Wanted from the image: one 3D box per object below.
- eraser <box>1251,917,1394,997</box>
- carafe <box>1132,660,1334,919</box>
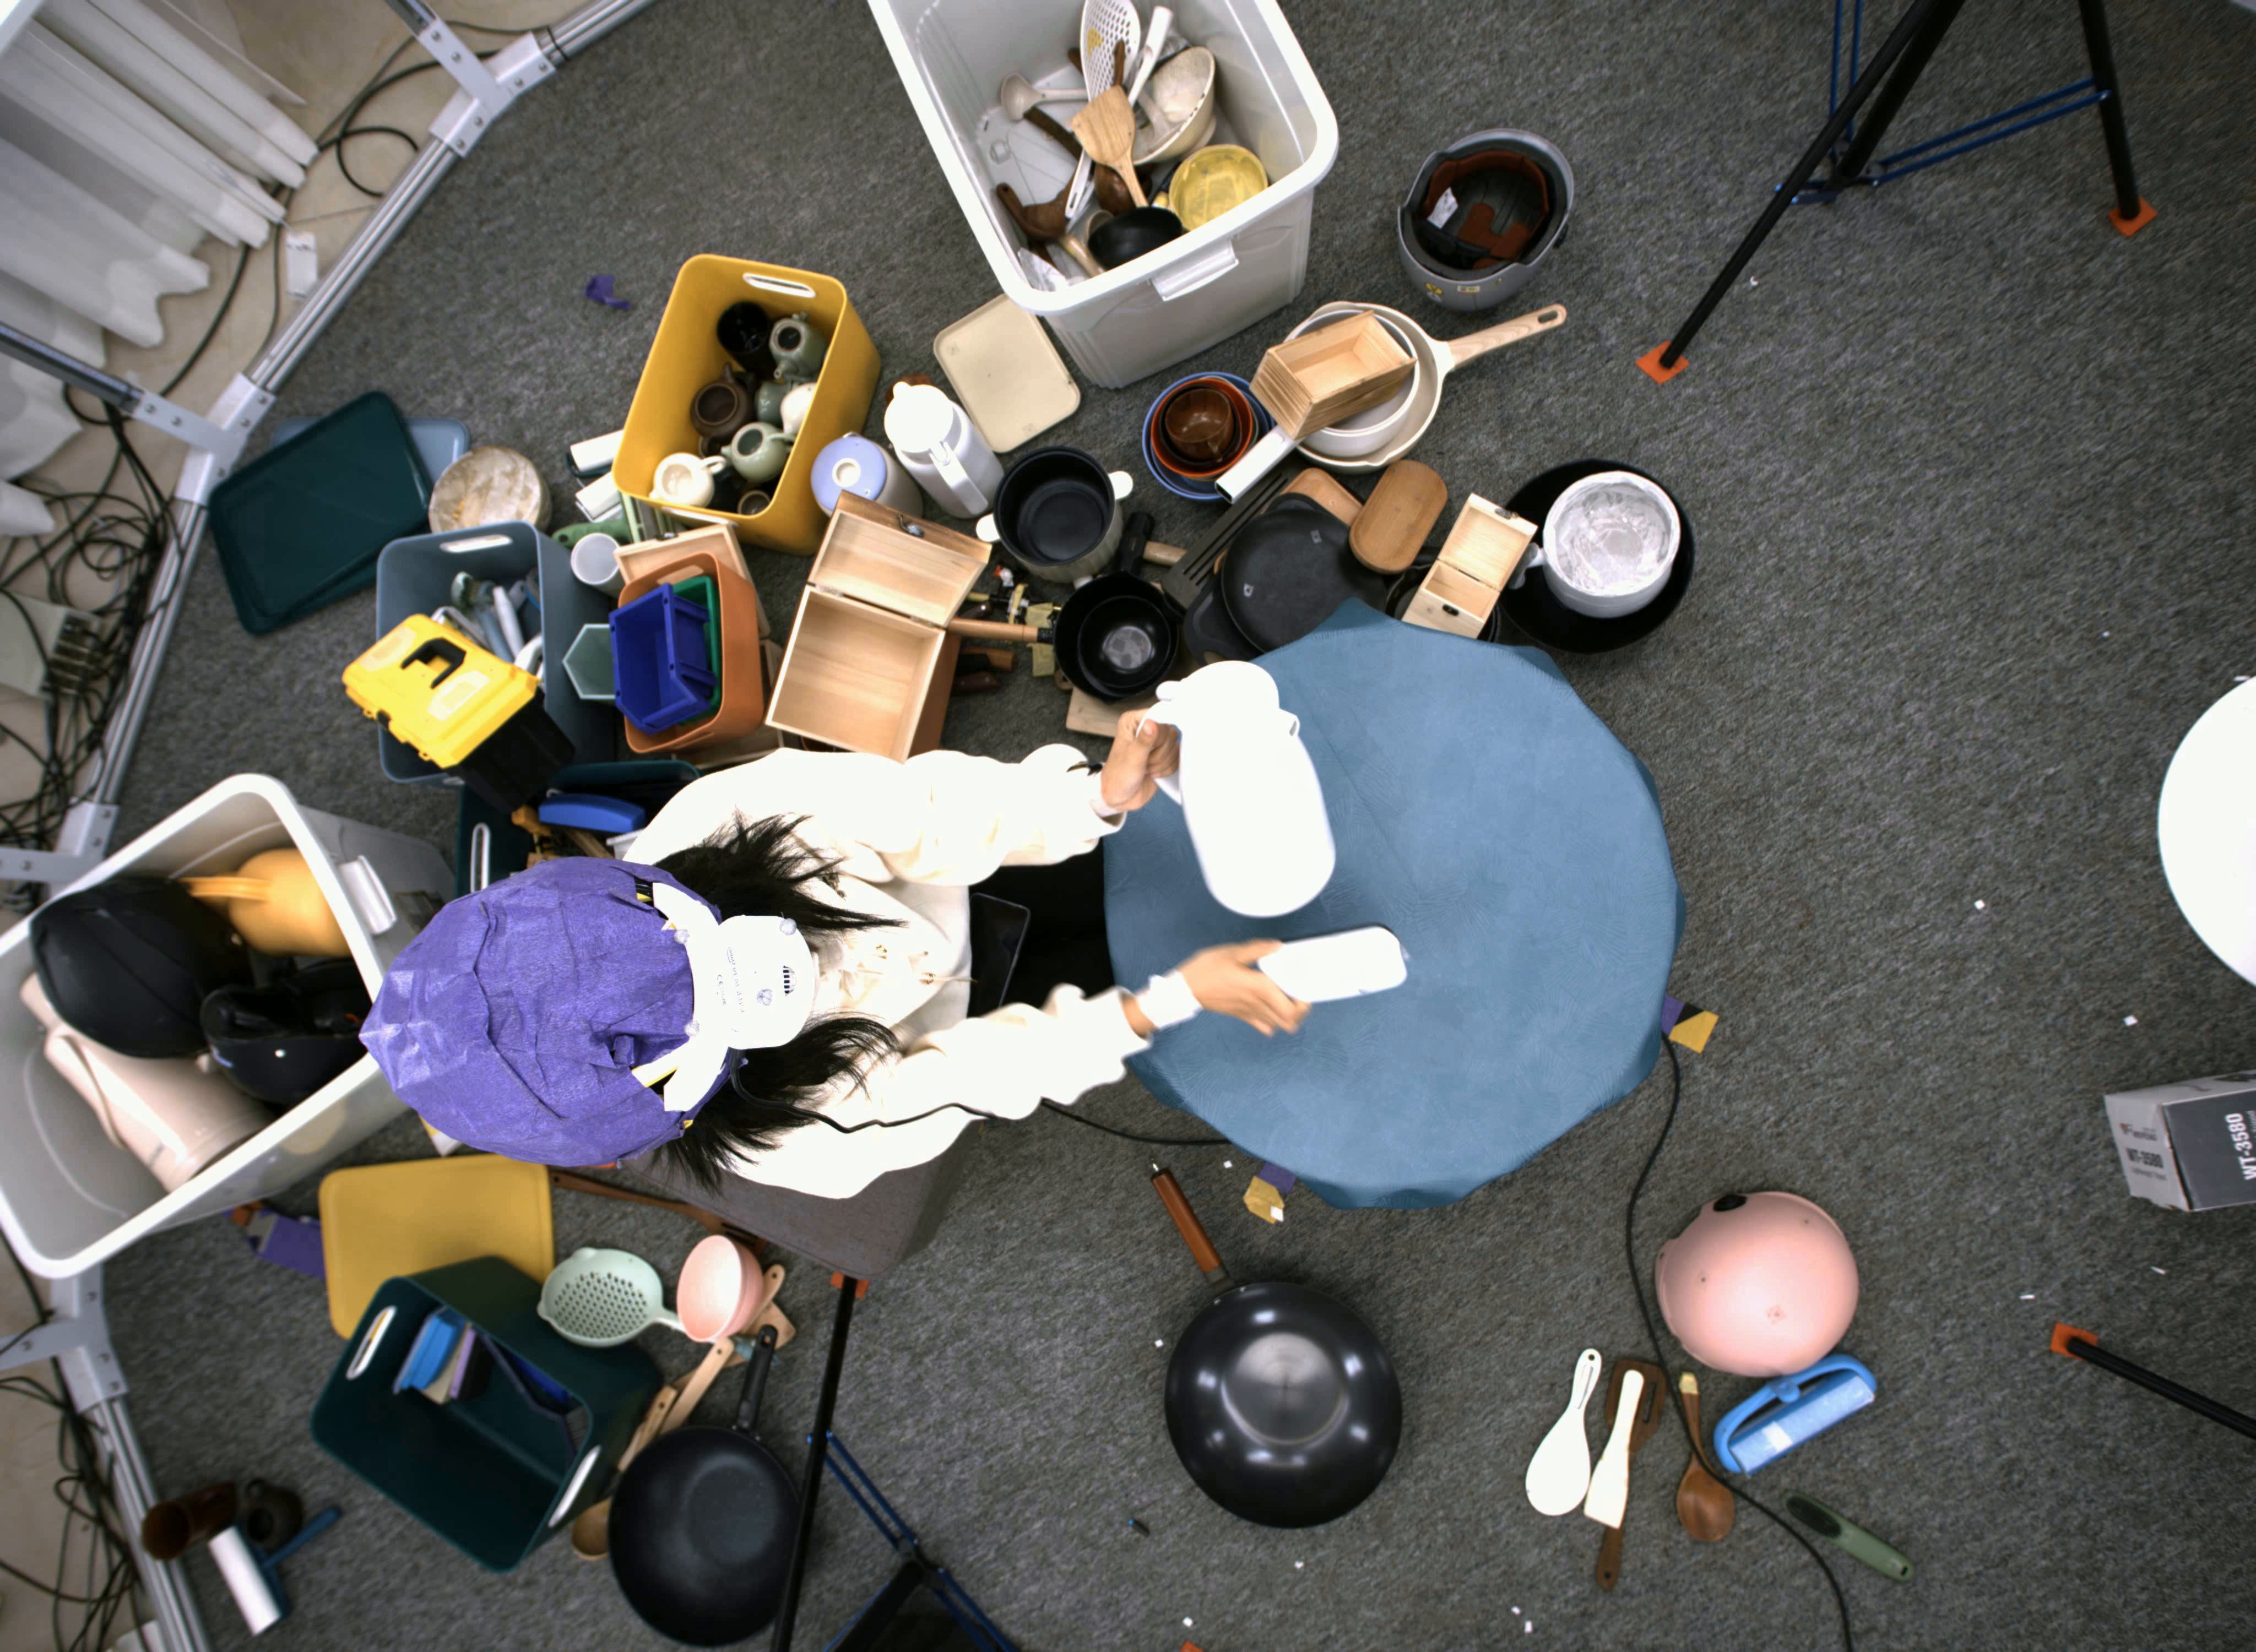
[{"bbox_3d":[0.185,0.124,1.318,0.132,0.033,0.064,-13,126,20],"label":"eraser"},{"bbox_3d":[0.090,-0.040,1.269,0.168,0.253,0.129,12,58,26],"label":"carafe"}]
